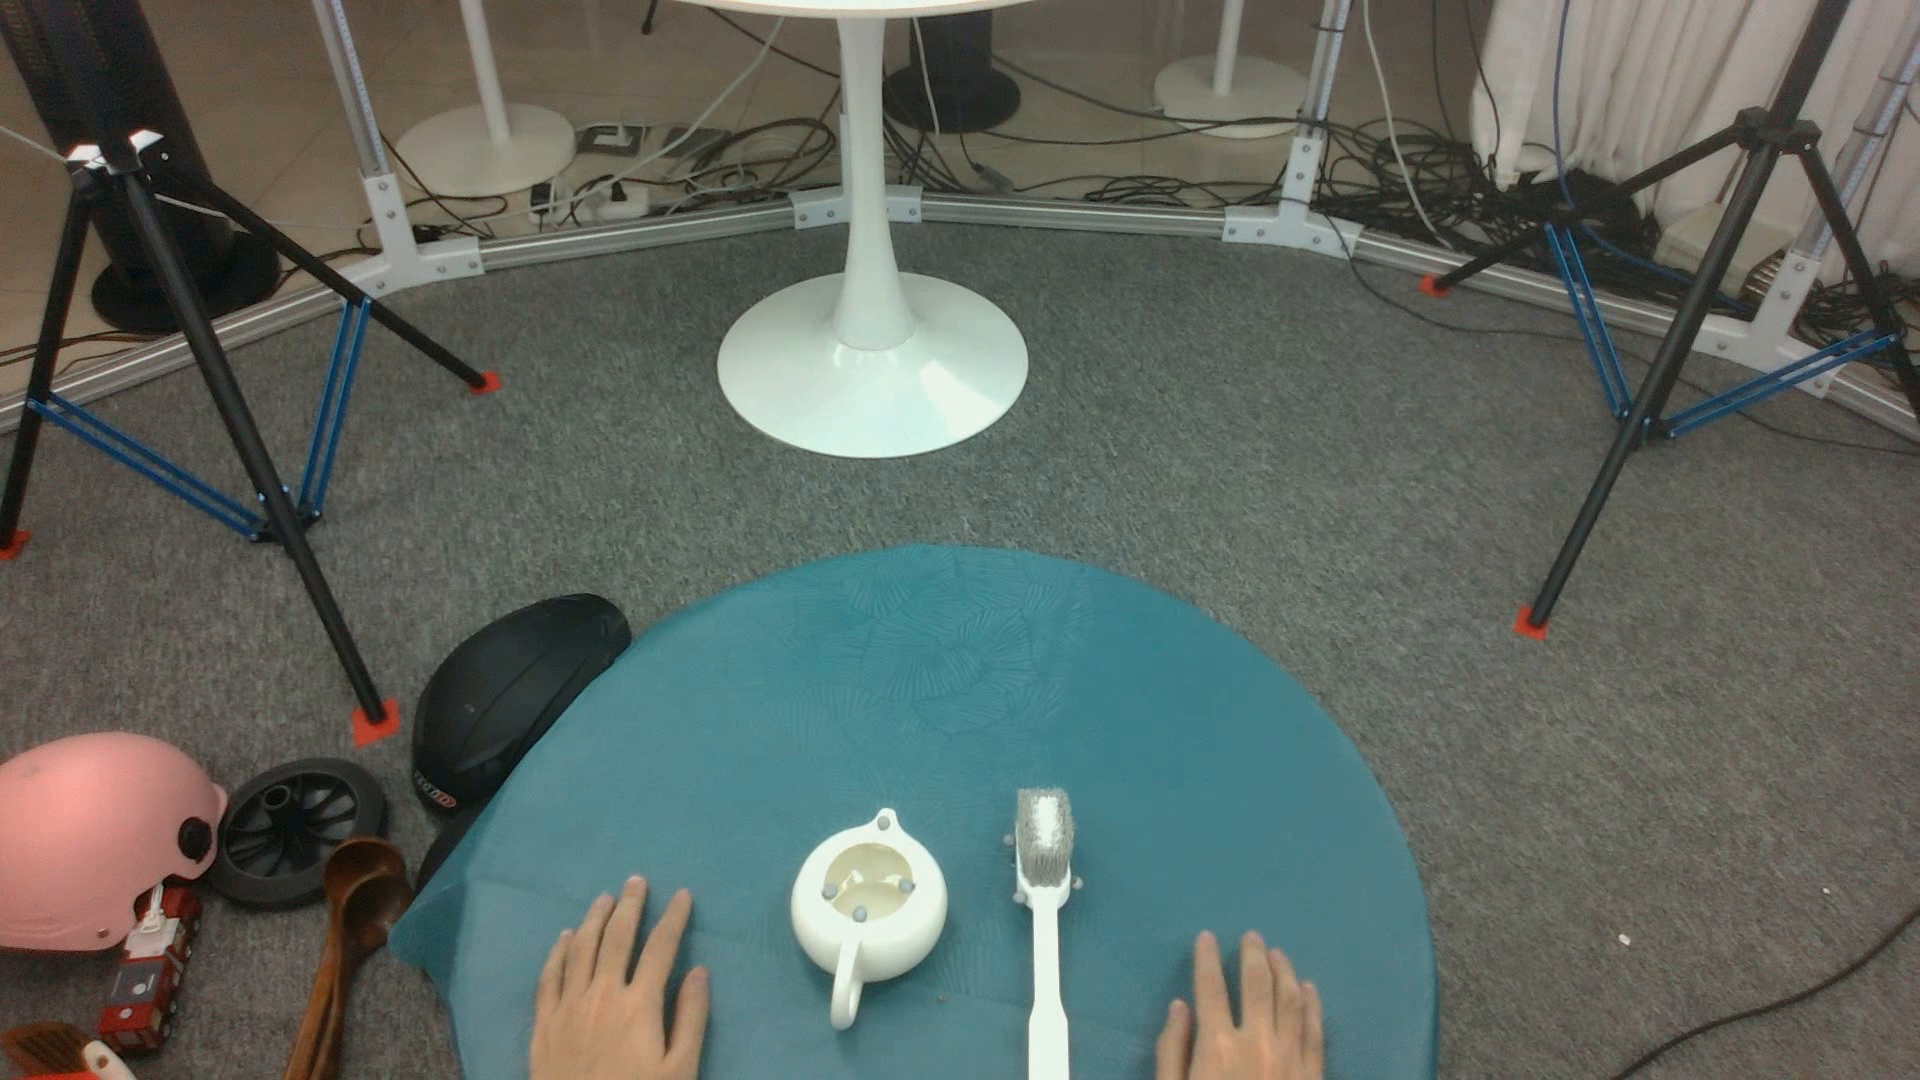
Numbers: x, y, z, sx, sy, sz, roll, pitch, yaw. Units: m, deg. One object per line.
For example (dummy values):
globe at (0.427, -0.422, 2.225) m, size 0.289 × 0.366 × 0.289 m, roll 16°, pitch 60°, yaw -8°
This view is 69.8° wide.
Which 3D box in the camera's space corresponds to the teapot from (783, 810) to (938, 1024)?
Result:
teapot at (-0.062, 0.227, 0.829) m, size 0.093 × 0.056 × 0.128 m, roll 9°, pitch 46°, yaw 1°

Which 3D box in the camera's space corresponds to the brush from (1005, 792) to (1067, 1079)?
brush at (0.043, 0.253, 0.809) m, size 0.034 × 0.050 × 0.245 m, roll 7°, pitch 44°, yaw -1°
